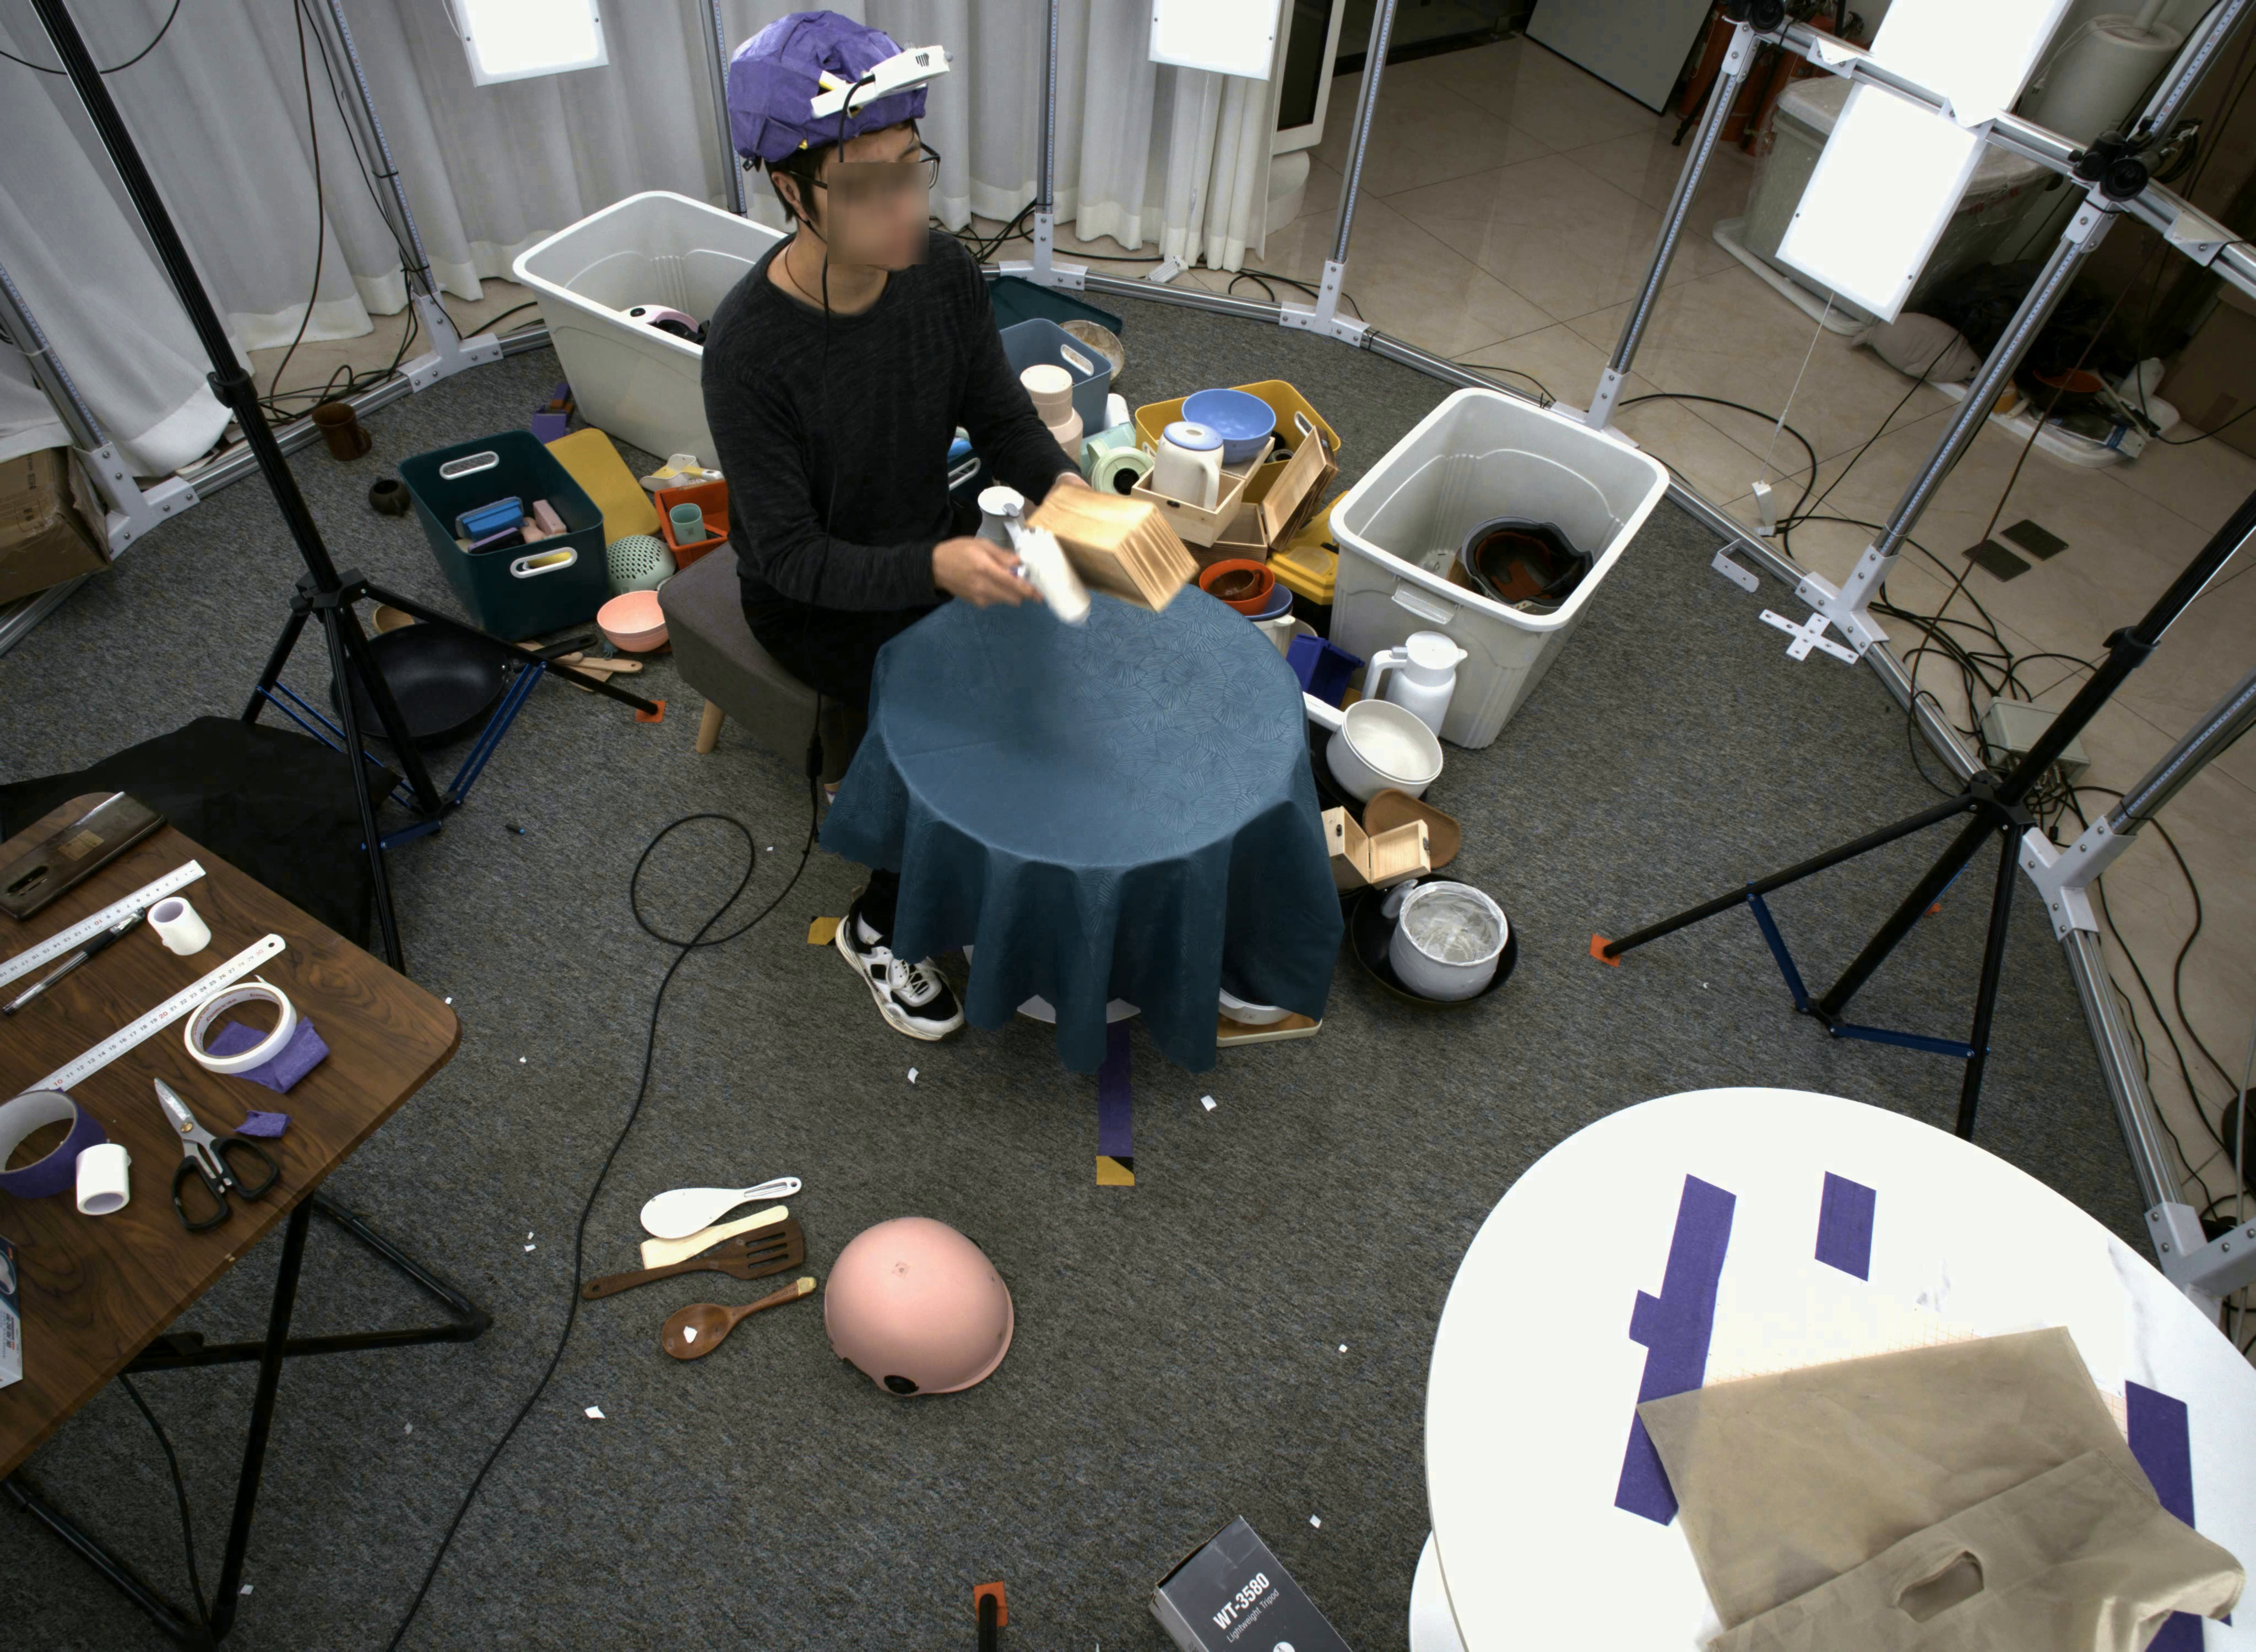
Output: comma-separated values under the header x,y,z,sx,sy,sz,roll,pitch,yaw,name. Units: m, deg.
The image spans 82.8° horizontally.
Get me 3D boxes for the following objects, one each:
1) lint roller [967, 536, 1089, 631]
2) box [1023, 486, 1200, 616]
x,y,z,sx,sy,sz,roll,pitch,yaw,name
-0.143,-0.298,1.604,0.182,0.130,0.051,3,52,36,lint roller
-0.023,-0.342,1.590,0.080,0.105,0.215,-49,39,-8,box
